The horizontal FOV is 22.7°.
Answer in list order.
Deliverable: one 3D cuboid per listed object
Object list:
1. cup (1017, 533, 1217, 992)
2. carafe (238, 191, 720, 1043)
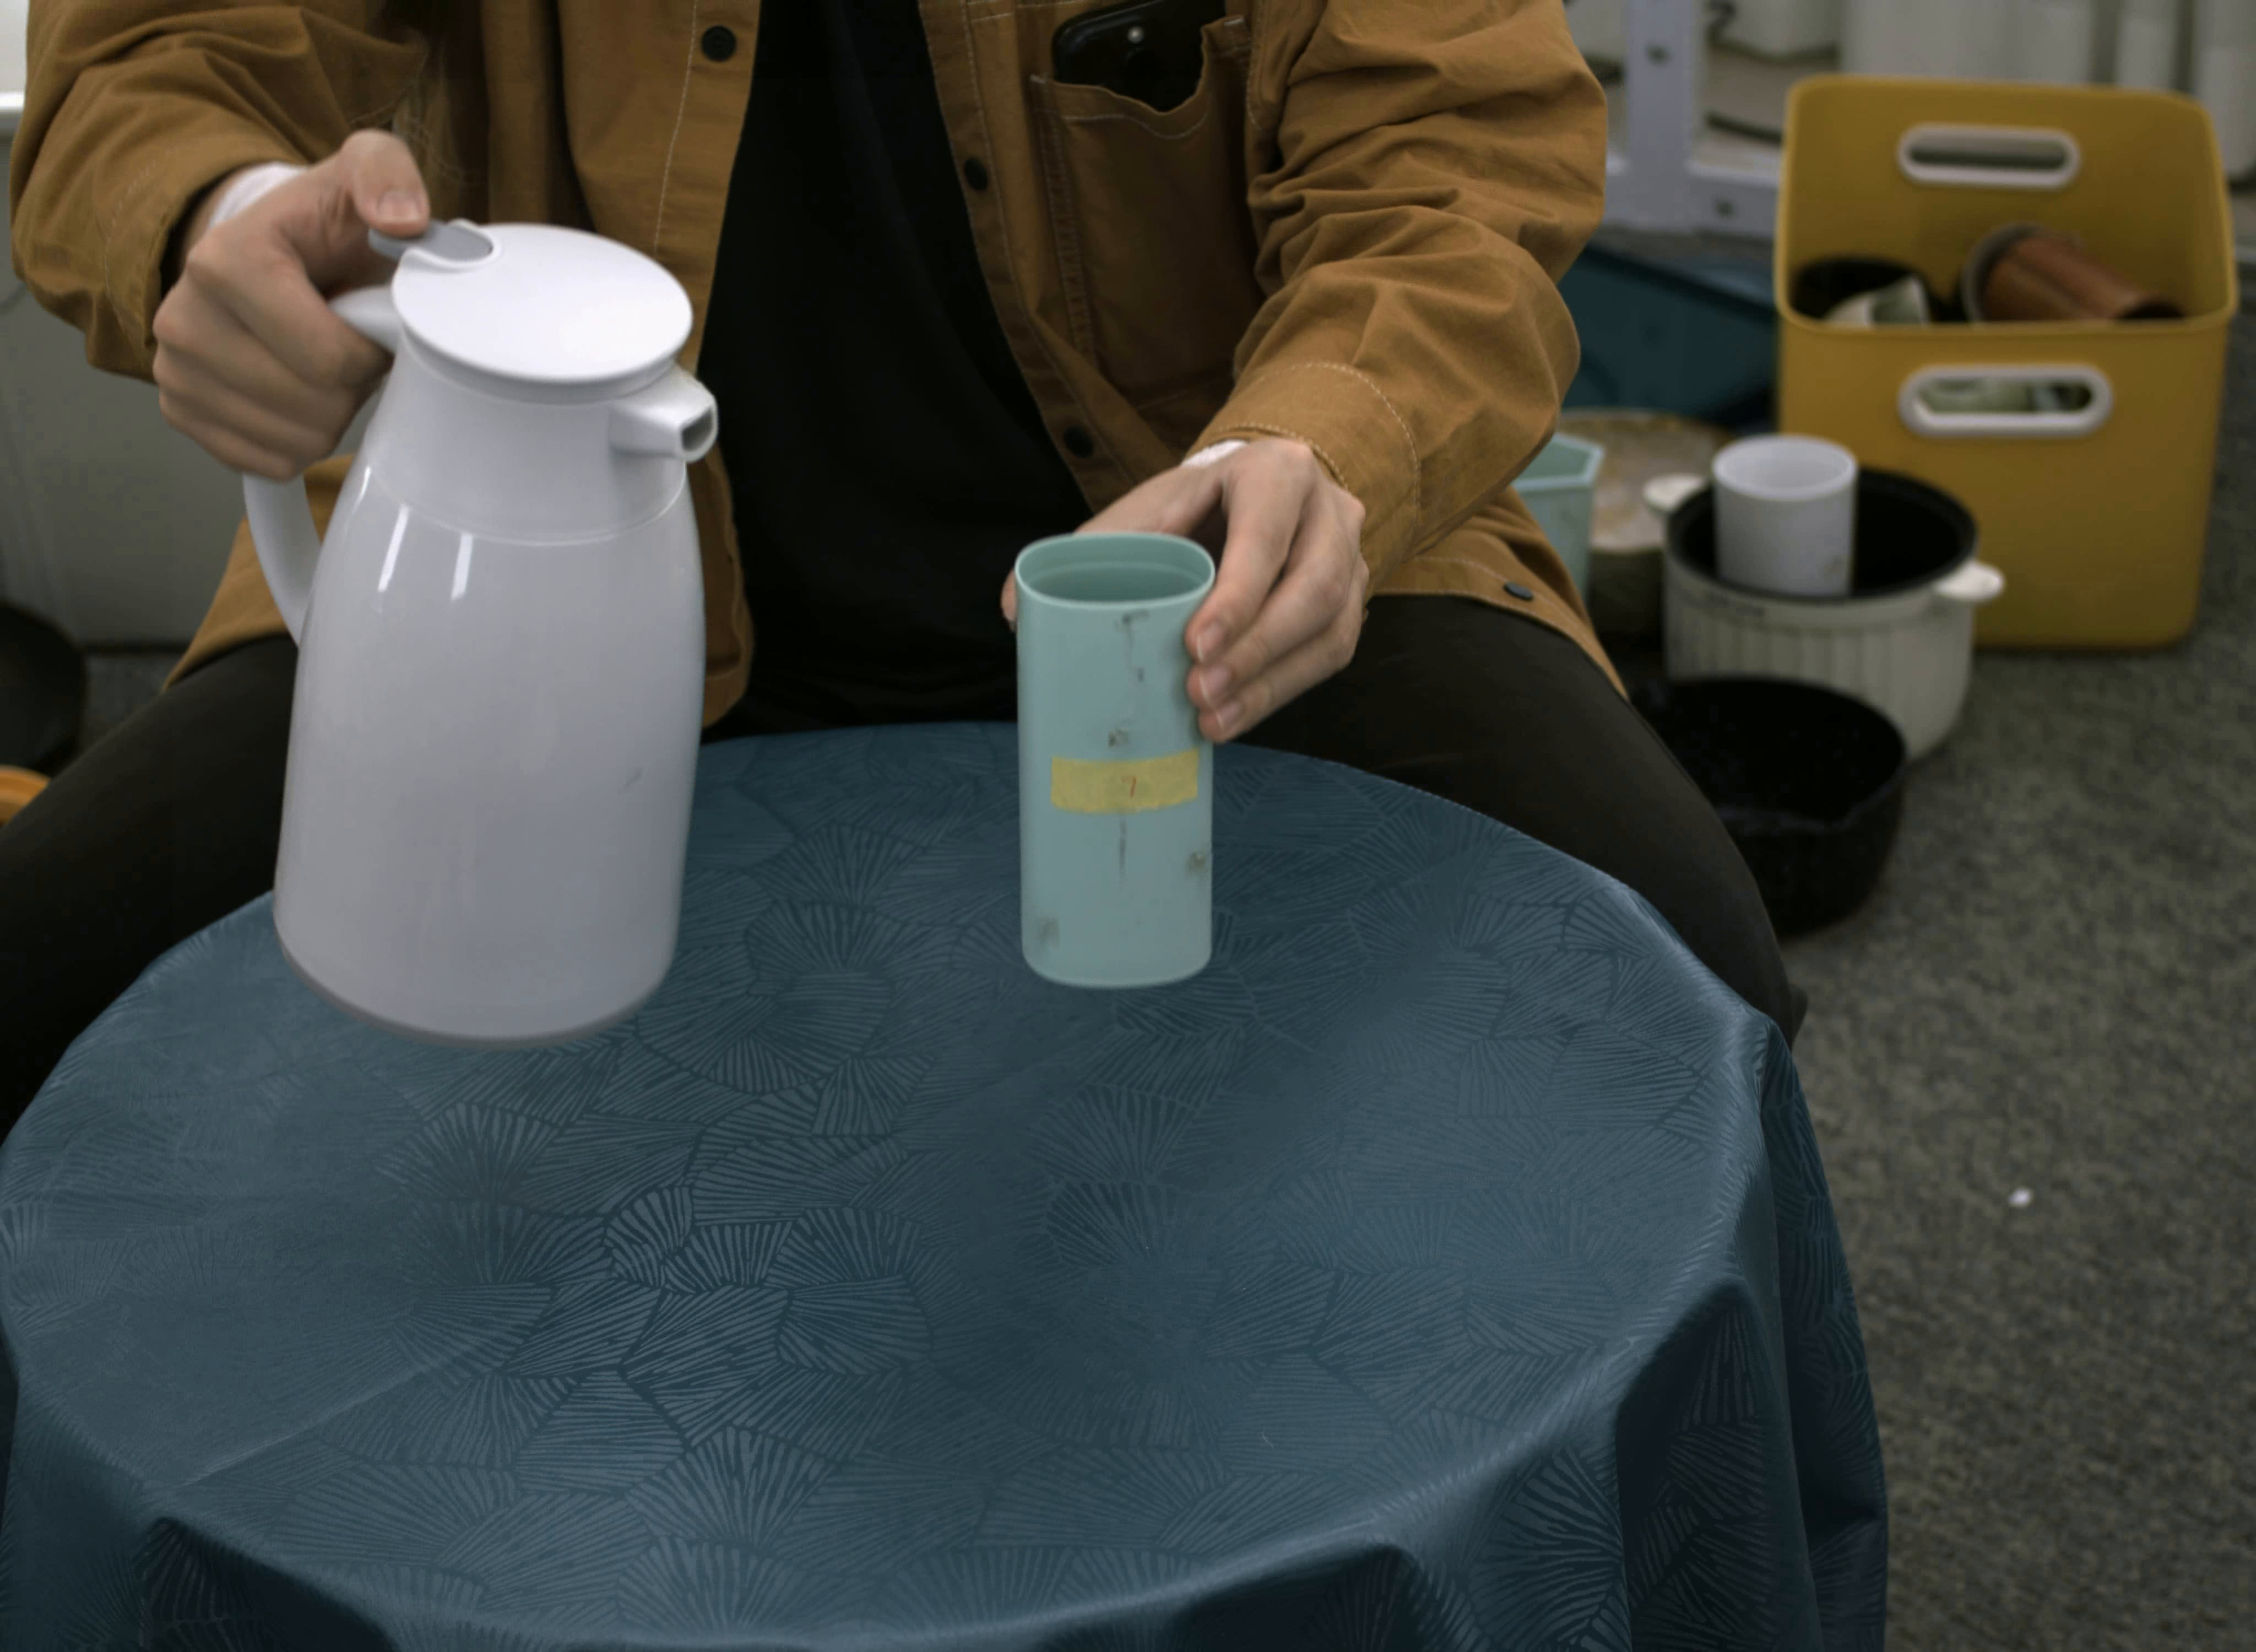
[{"bbox_3d":[-0.004,-0.021,1.770,0.066,0.131,0.067,0,22,0],"label":"cup"},{"bbox_3d":[-0.212,-0.076,1.776,0.167,0.245,0.134,25,36,21],"label":"carafe"}]
